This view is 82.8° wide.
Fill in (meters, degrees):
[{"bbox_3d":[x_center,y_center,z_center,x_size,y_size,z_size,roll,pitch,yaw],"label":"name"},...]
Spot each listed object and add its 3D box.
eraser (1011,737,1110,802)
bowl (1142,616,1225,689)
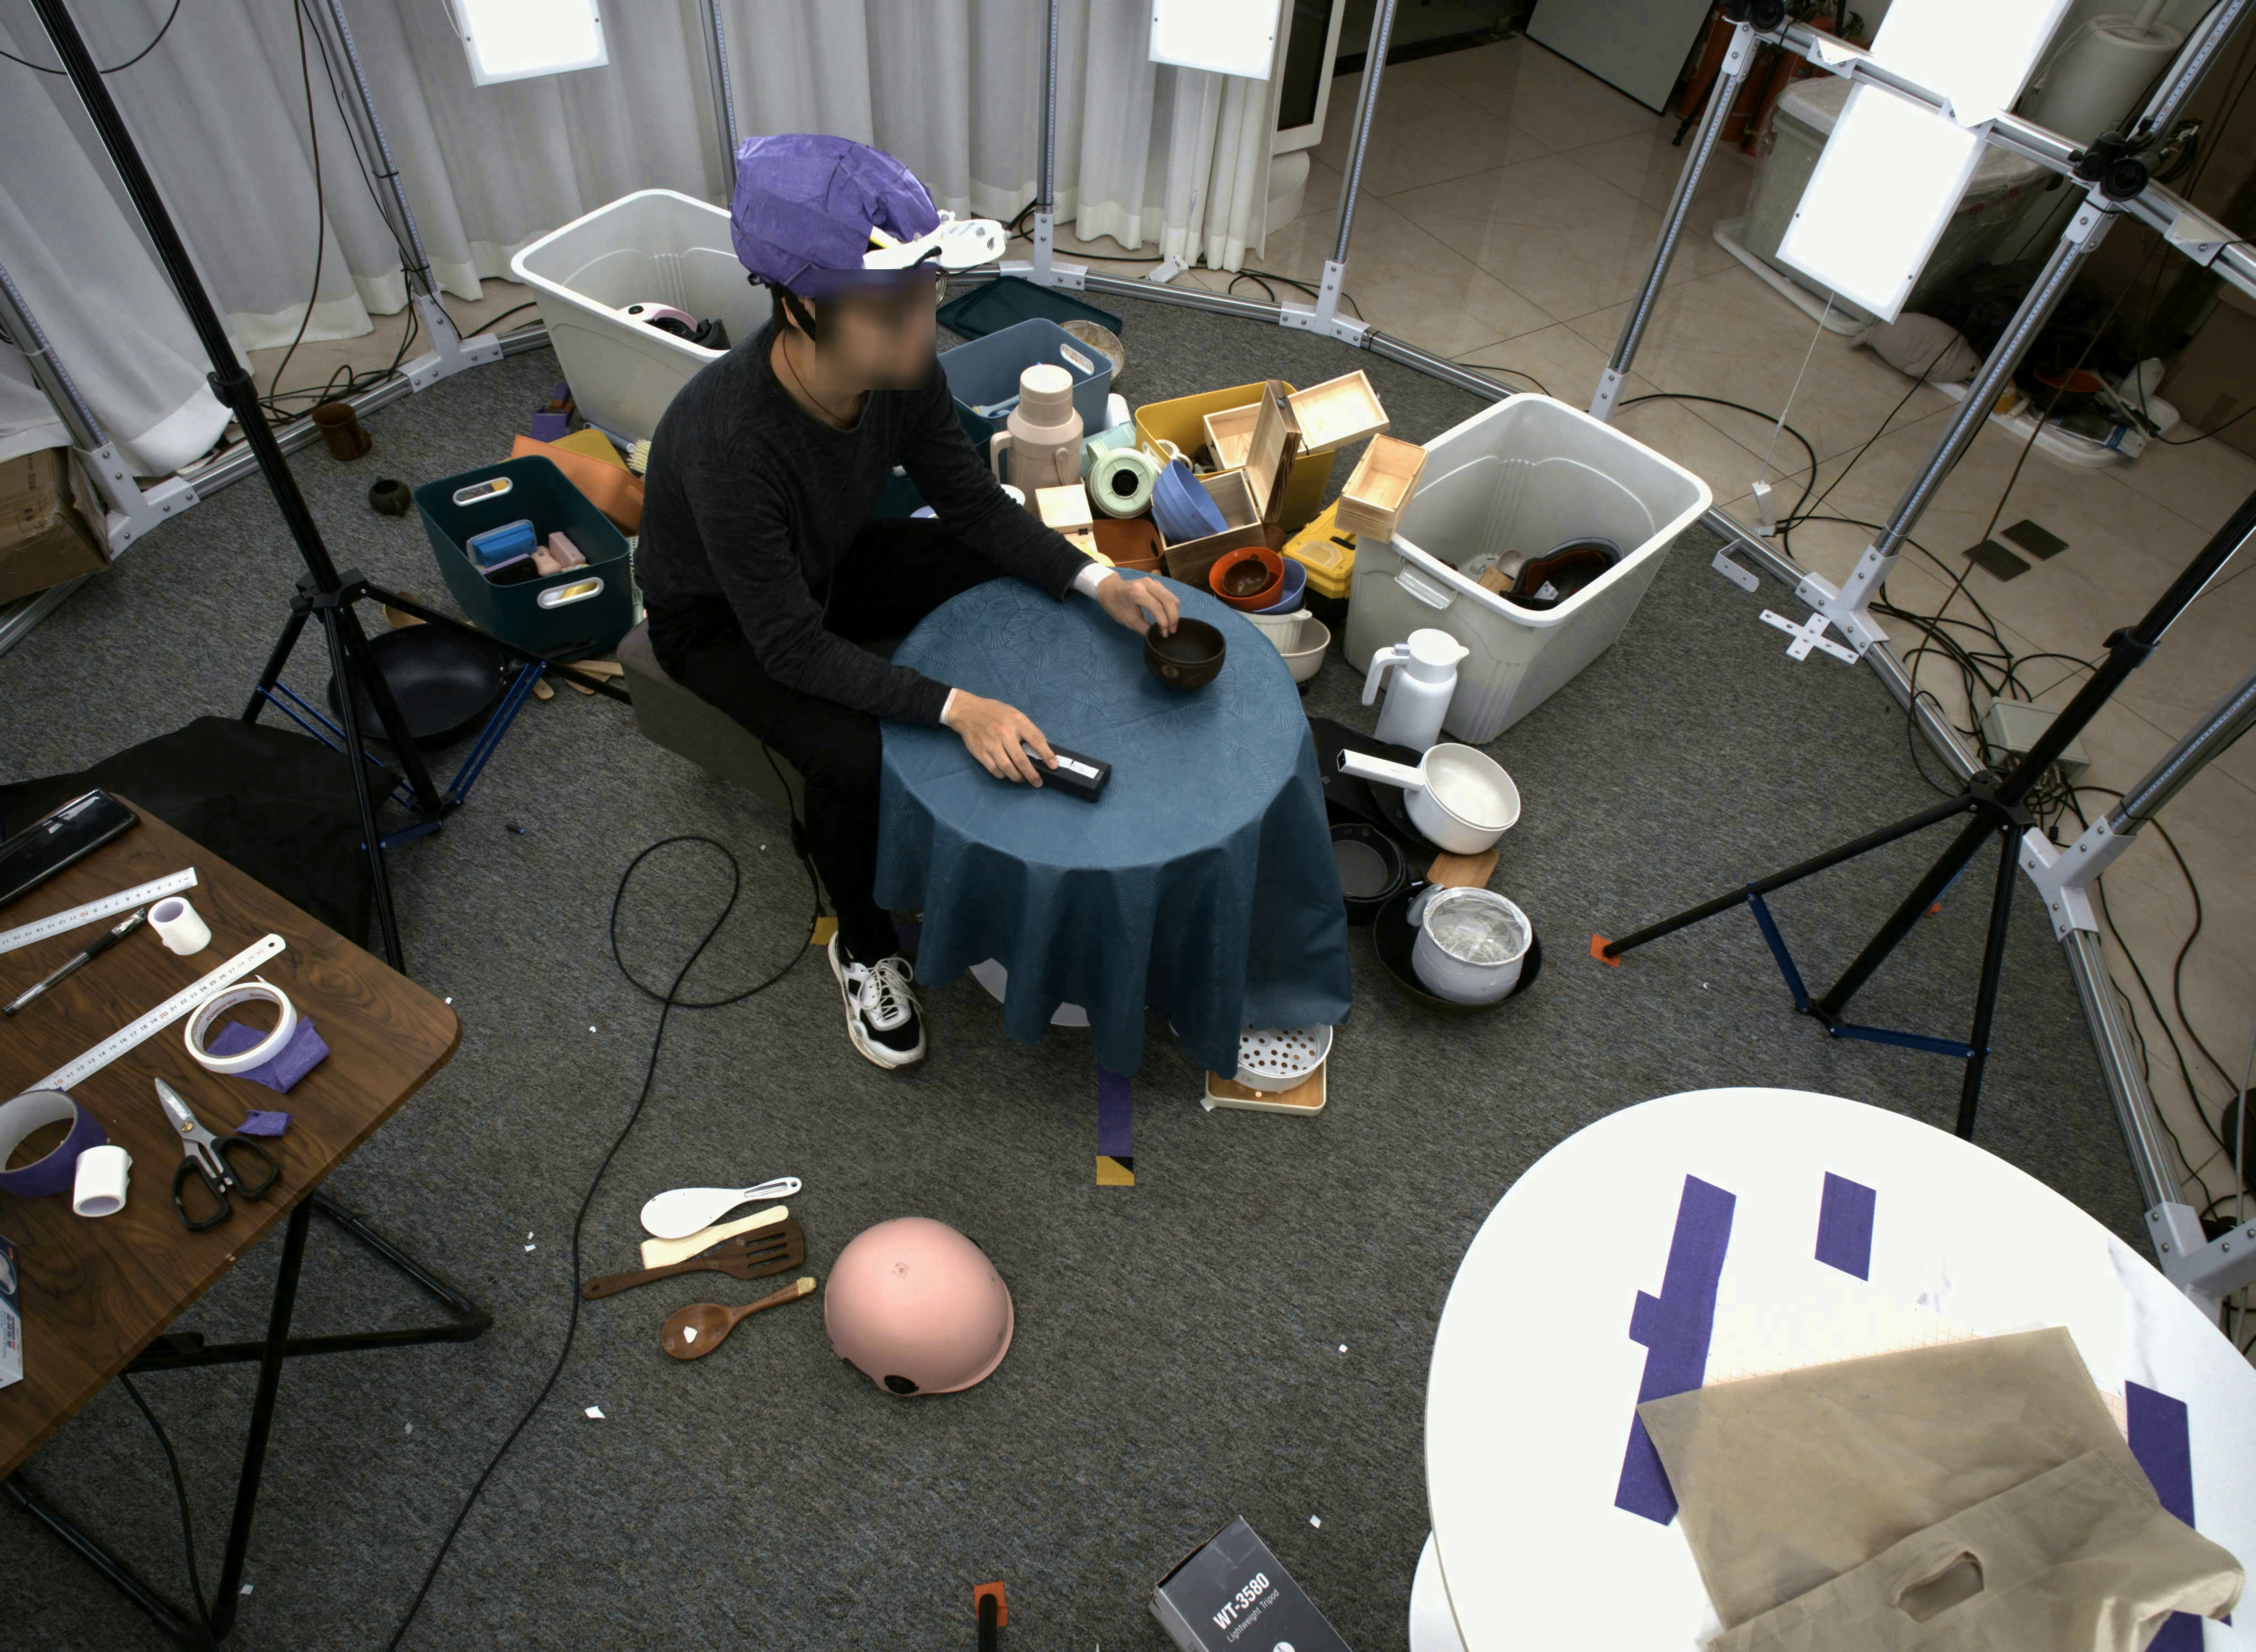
[{"bbox_3d":[-0.090,-0.076,1.710,0.126,0.030,0.054,19,51,12],"label":"eraser"},{"bbox_3d":[0.077,-0.240,1.833,0.118,0.068,0.121,4,42,-3],"label":"bowl"}]
